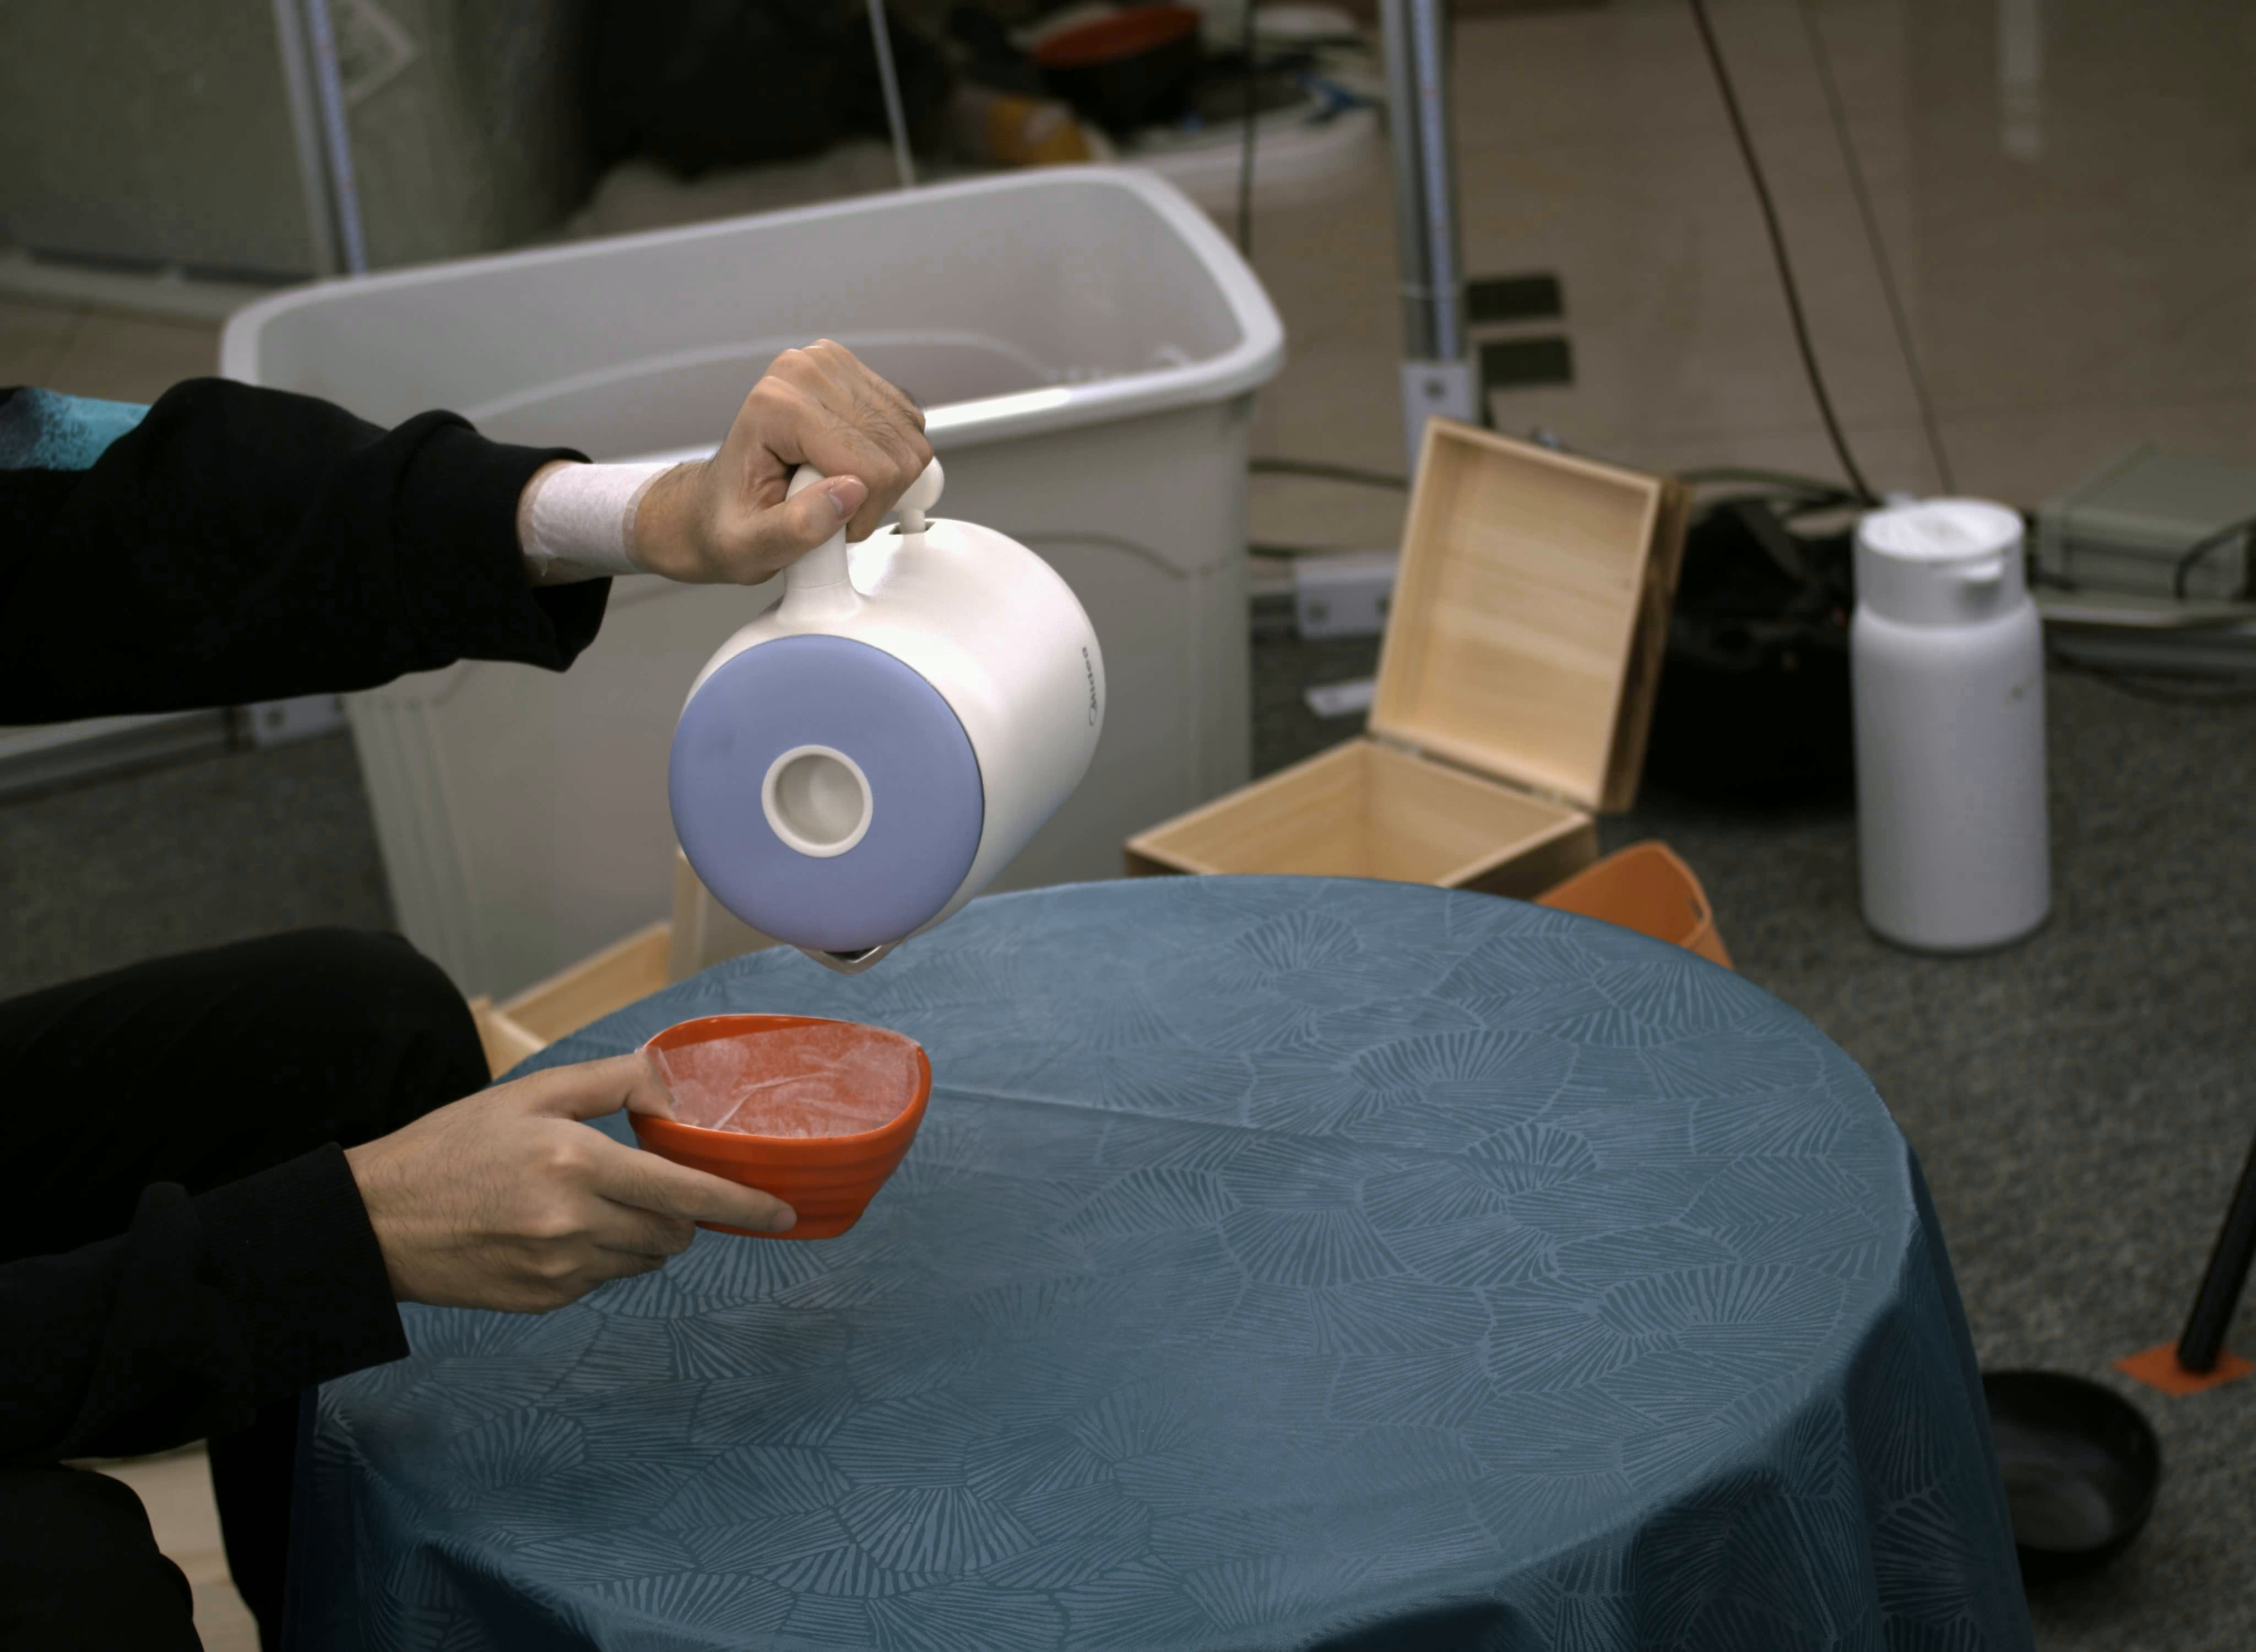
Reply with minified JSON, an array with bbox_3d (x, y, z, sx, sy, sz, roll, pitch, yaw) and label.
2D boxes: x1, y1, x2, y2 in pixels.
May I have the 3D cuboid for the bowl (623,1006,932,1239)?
[{"bbox_3d":[-0.128,0.111,2.051,0.119,0.052,0.117,4,24,-2],"label":"bowl"}]

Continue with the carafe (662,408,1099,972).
[{"bbox_3d":[-0.095,-0.058,2.100,0.132,0.193,0.181,-5,13,15],"label":"carafe"}]
